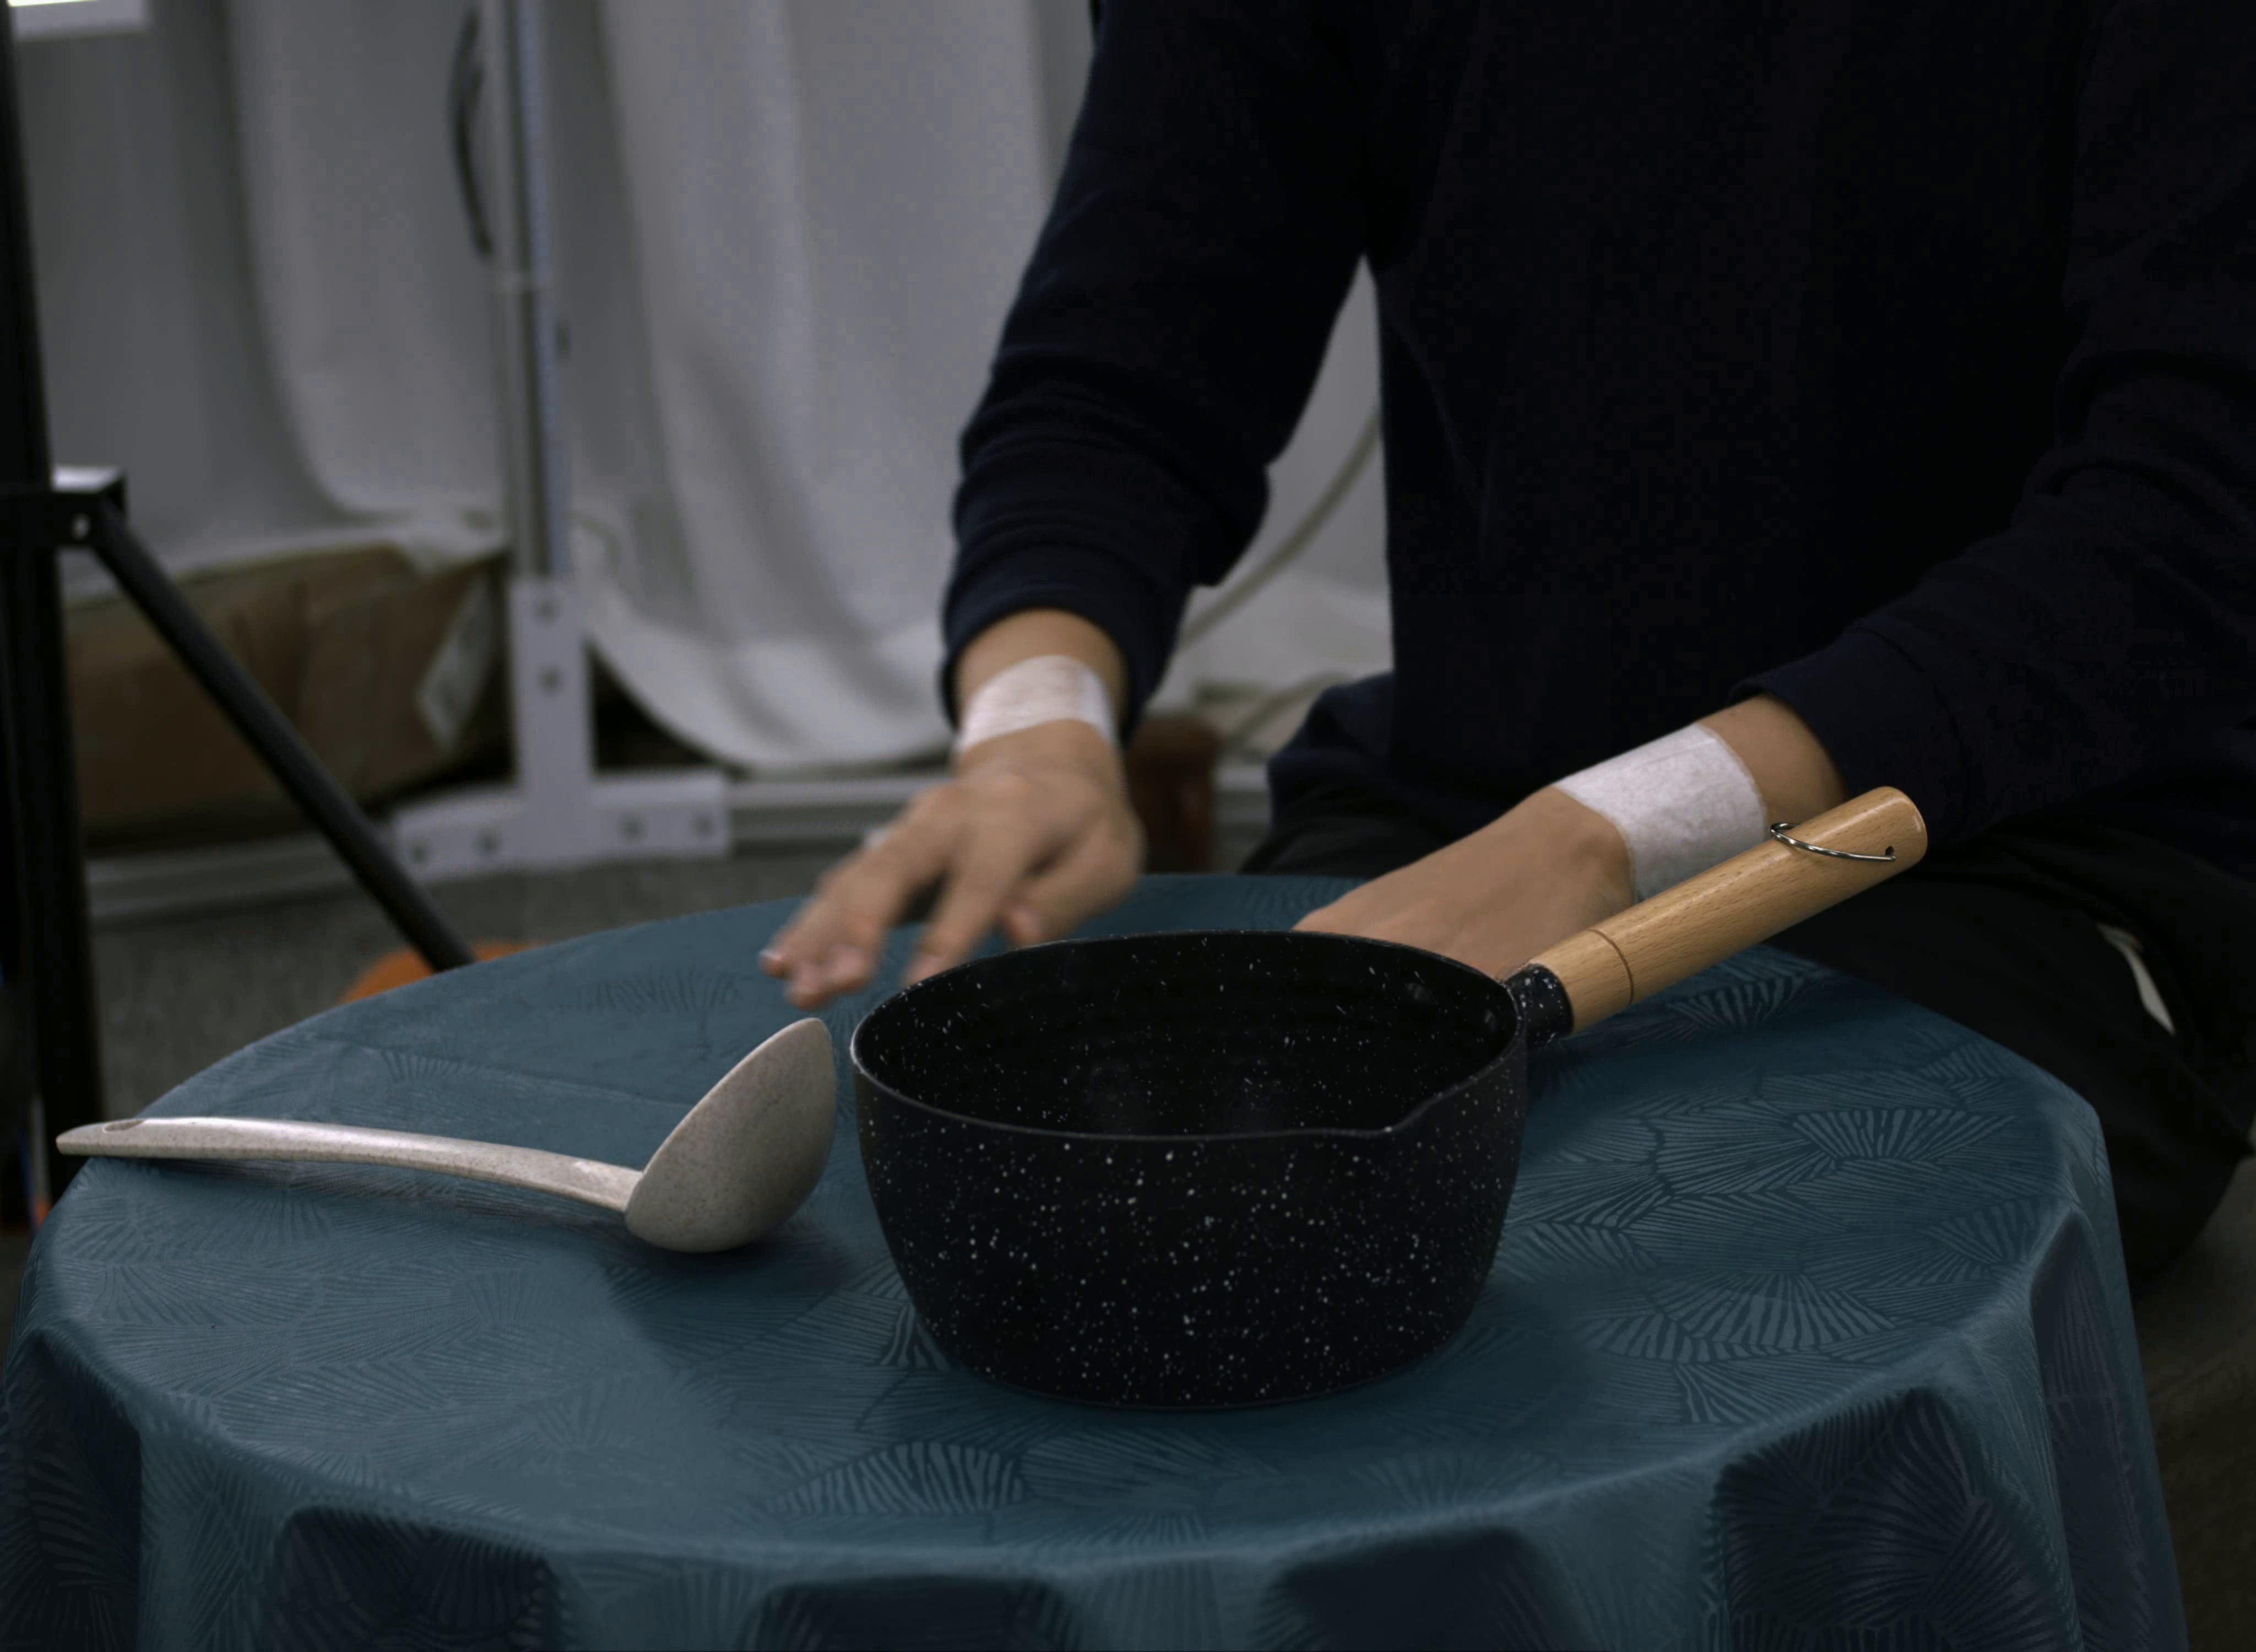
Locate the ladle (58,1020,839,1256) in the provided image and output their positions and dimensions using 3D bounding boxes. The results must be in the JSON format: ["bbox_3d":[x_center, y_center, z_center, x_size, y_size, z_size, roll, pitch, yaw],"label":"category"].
[{"bbox_3d":[-0.209,0.078,1.576,0.279,0.069,0.088,6,23,29],"label":"ladle"}]

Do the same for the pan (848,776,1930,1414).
[{"bbox_3d":[0.085,0.069,1.482,0.335,0.108,0.212,-13,17,-28],"label":"pan"}]
